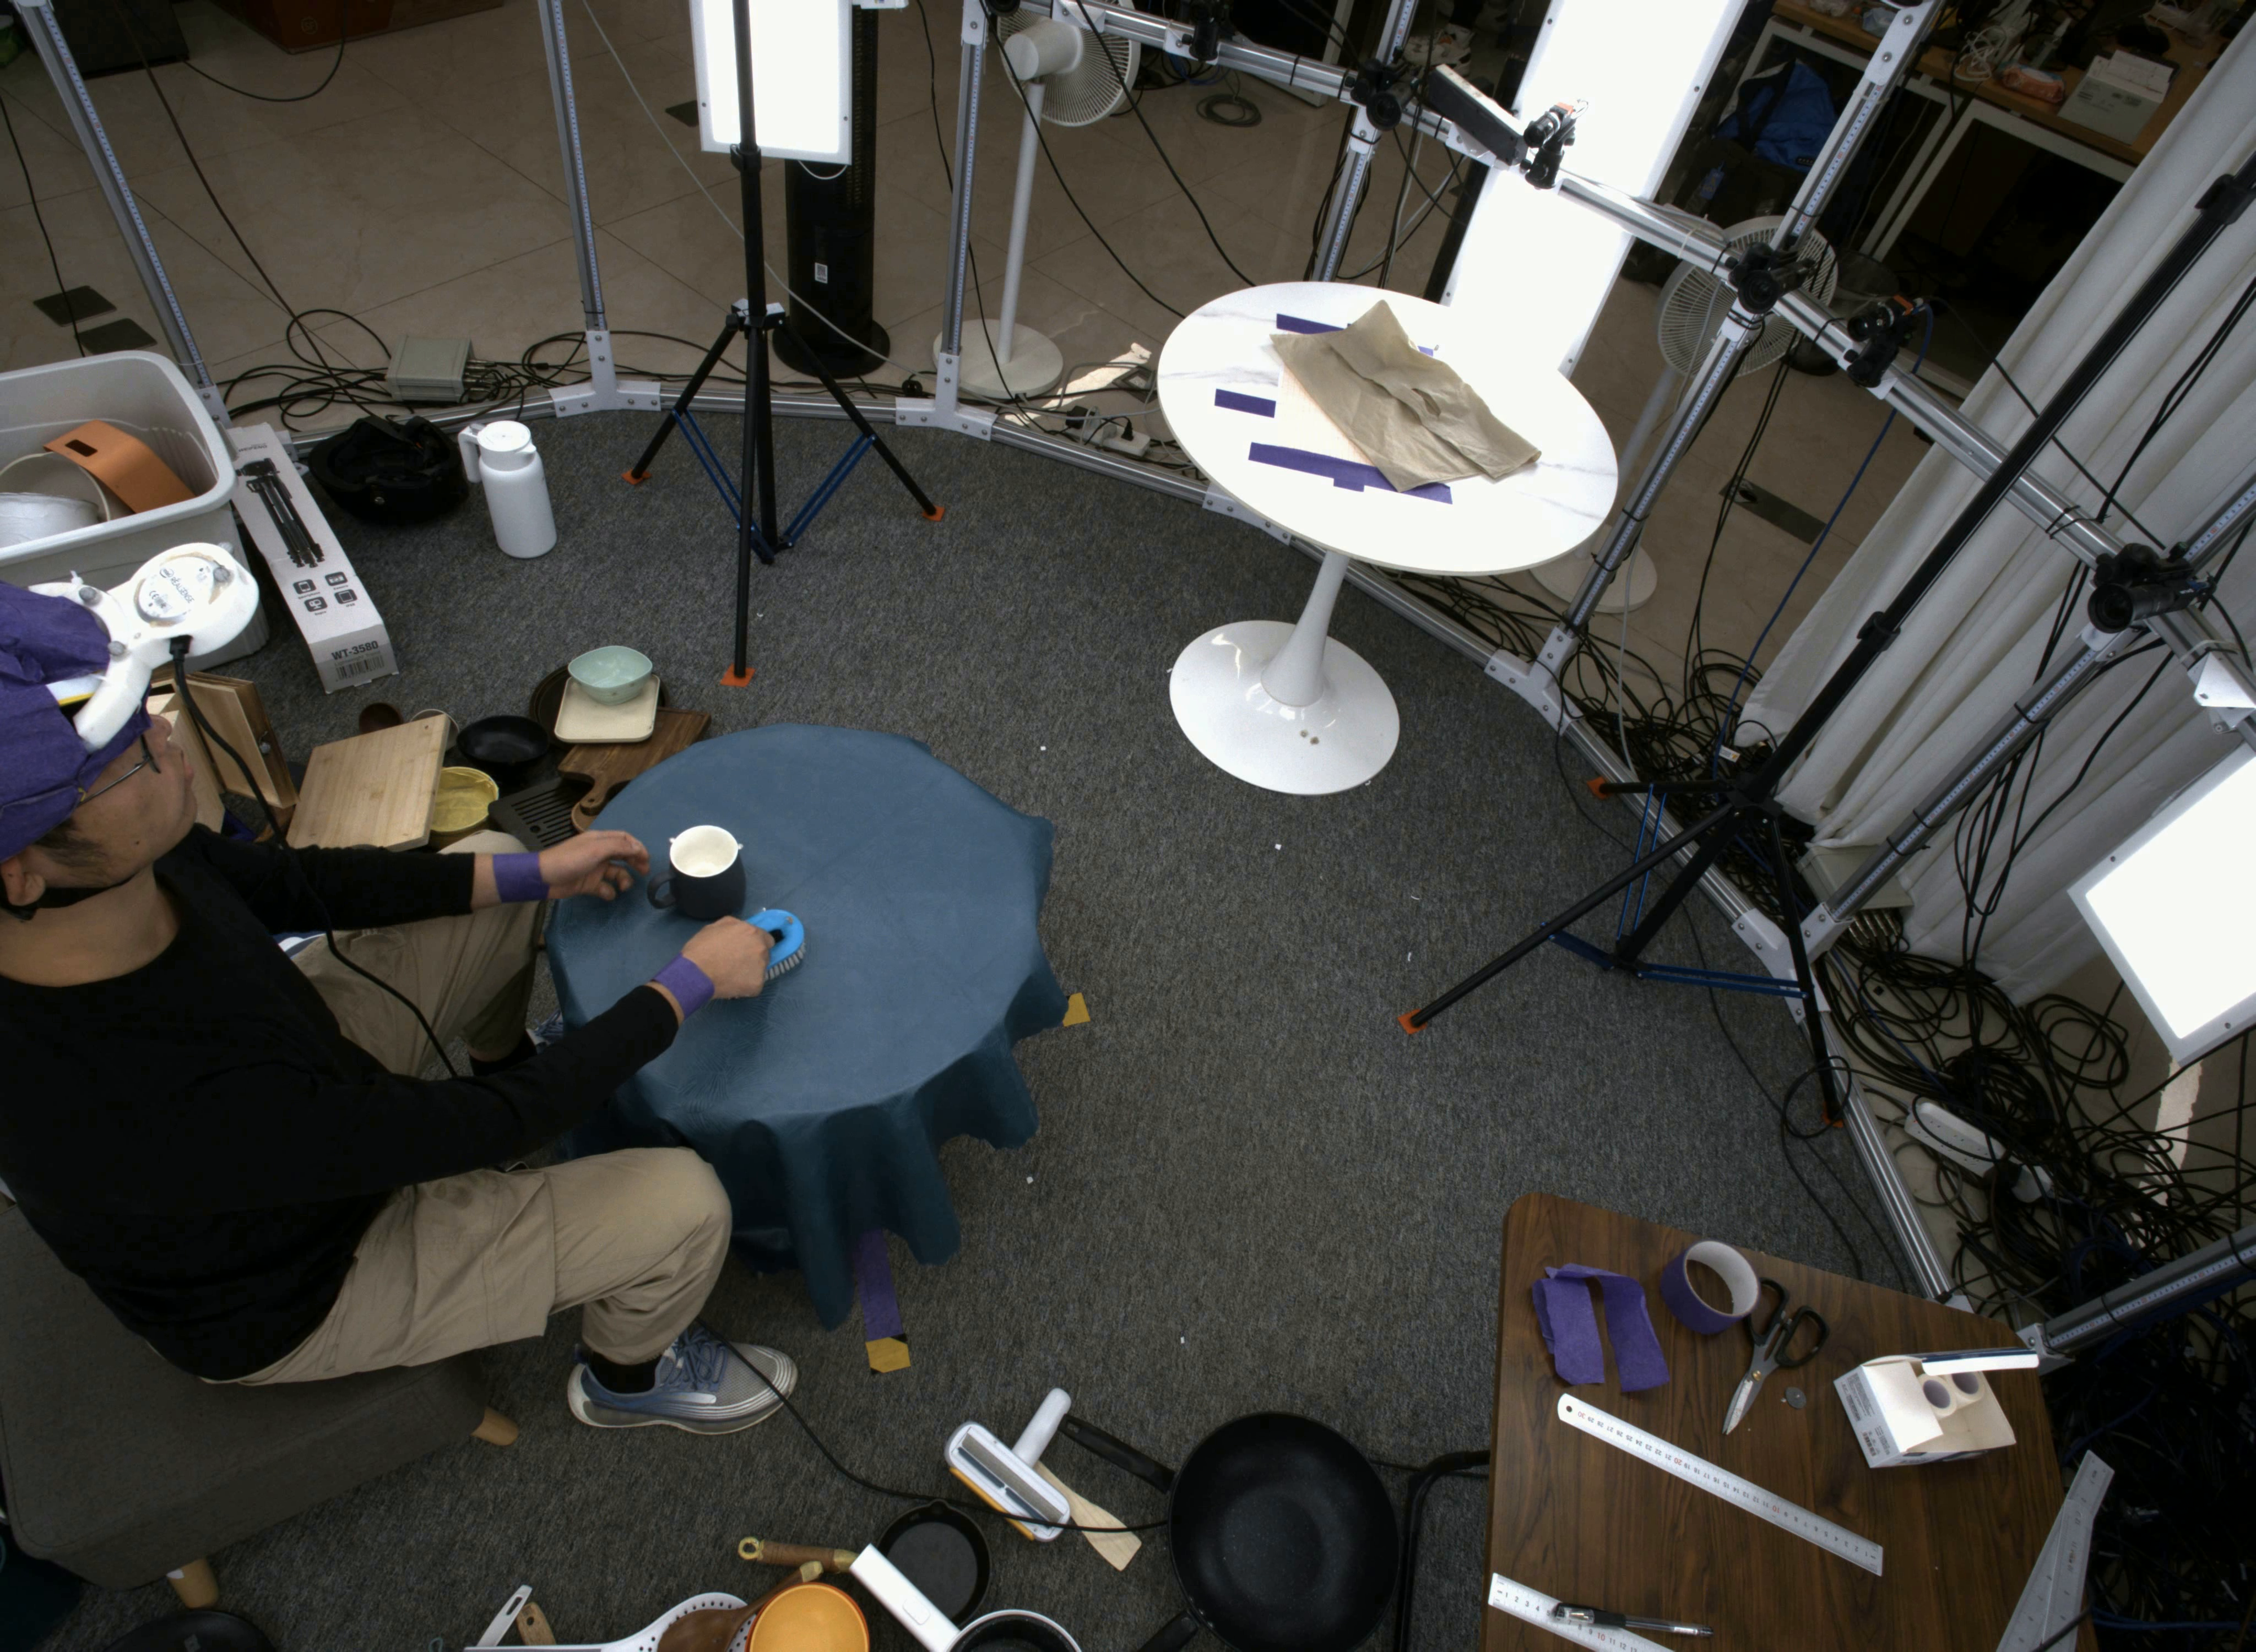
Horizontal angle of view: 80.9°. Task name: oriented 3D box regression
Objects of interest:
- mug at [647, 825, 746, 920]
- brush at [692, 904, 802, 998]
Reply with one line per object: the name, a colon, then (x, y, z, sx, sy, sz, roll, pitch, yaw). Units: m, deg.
mug: (-0.535, 0.060, 1.594, 0.124, 0.092, 0.091, -24, 60, -30)
brush: (-0.460, 0.143, 1.569, 0.142, 0.065, 0.083, -30, 69, -30)
